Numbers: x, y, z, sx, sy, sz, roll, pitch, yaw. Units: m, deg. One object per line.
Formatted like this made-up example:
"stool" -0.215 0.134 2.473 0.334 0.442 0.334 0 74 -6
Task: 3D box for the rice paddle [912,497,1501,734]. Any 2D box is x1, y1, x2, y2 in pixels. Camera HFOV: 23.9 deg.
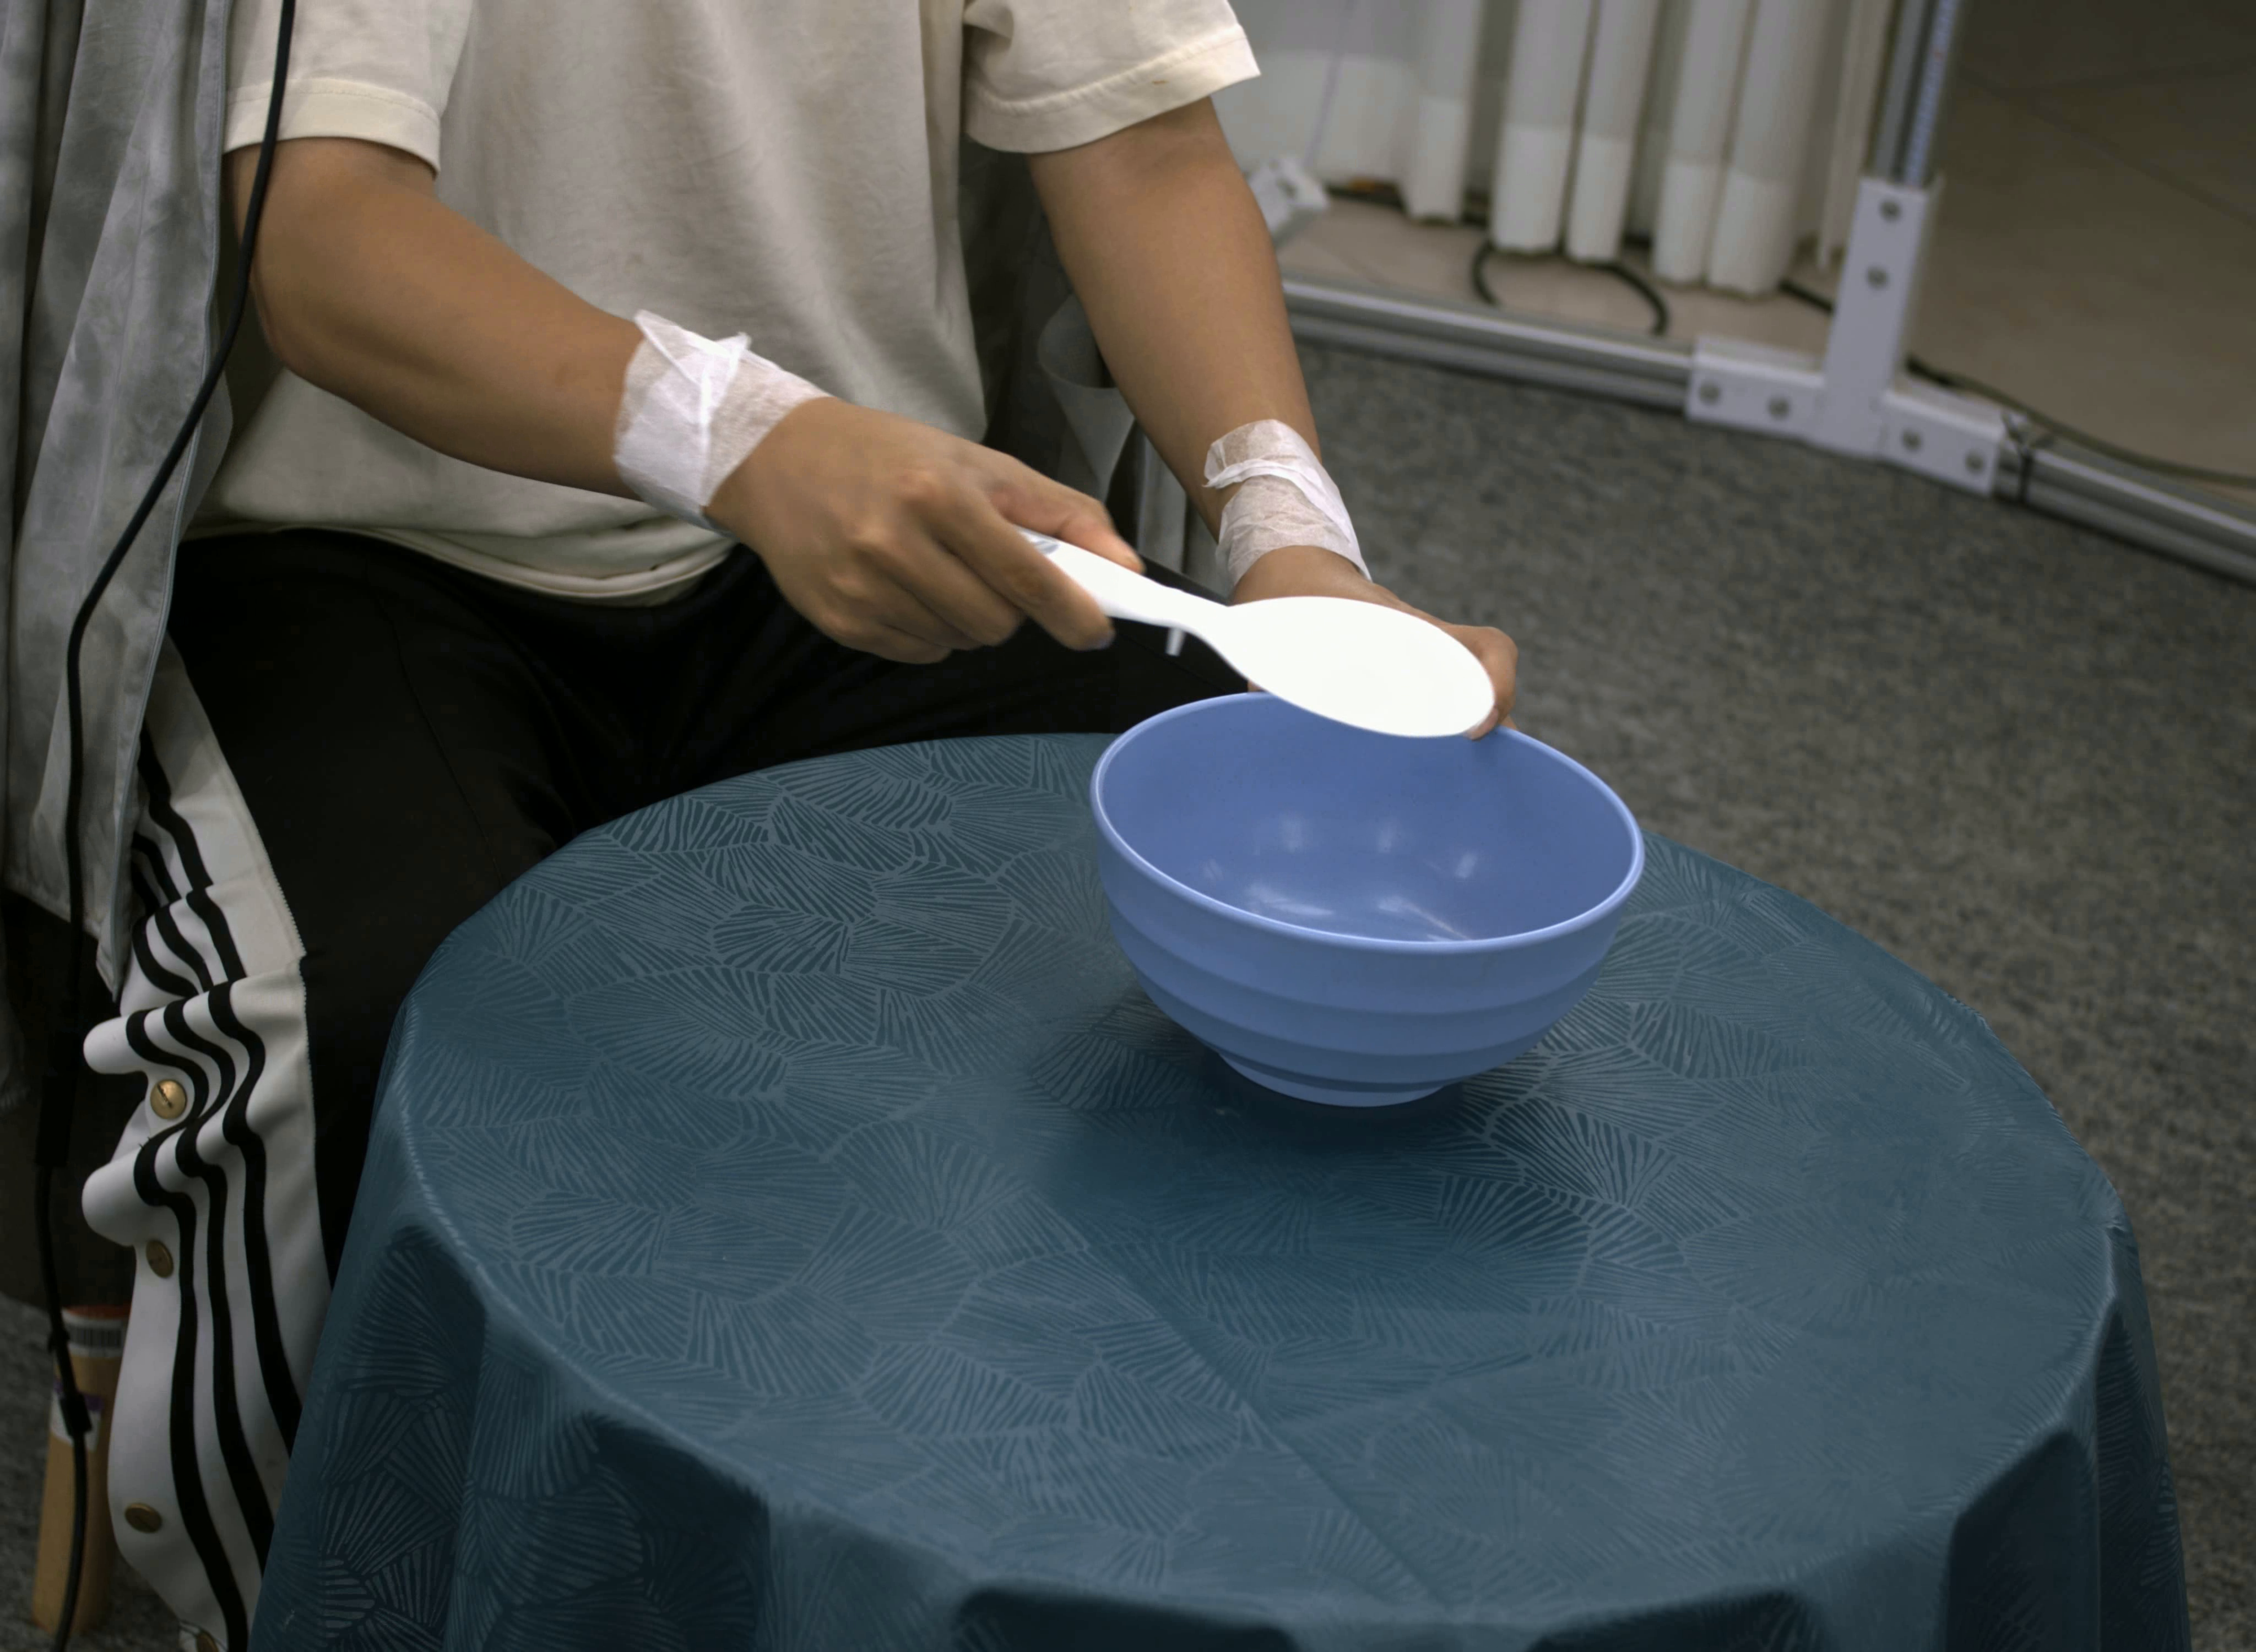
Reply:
"rice paddle" 0.028 -0.072 1.807 0.205 0.029 0.069 15 40 4

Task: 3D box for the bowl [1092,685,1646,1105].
"bowl" 0.080 0.035 1.890 0.196 0.095 0.198 5 28 -3
